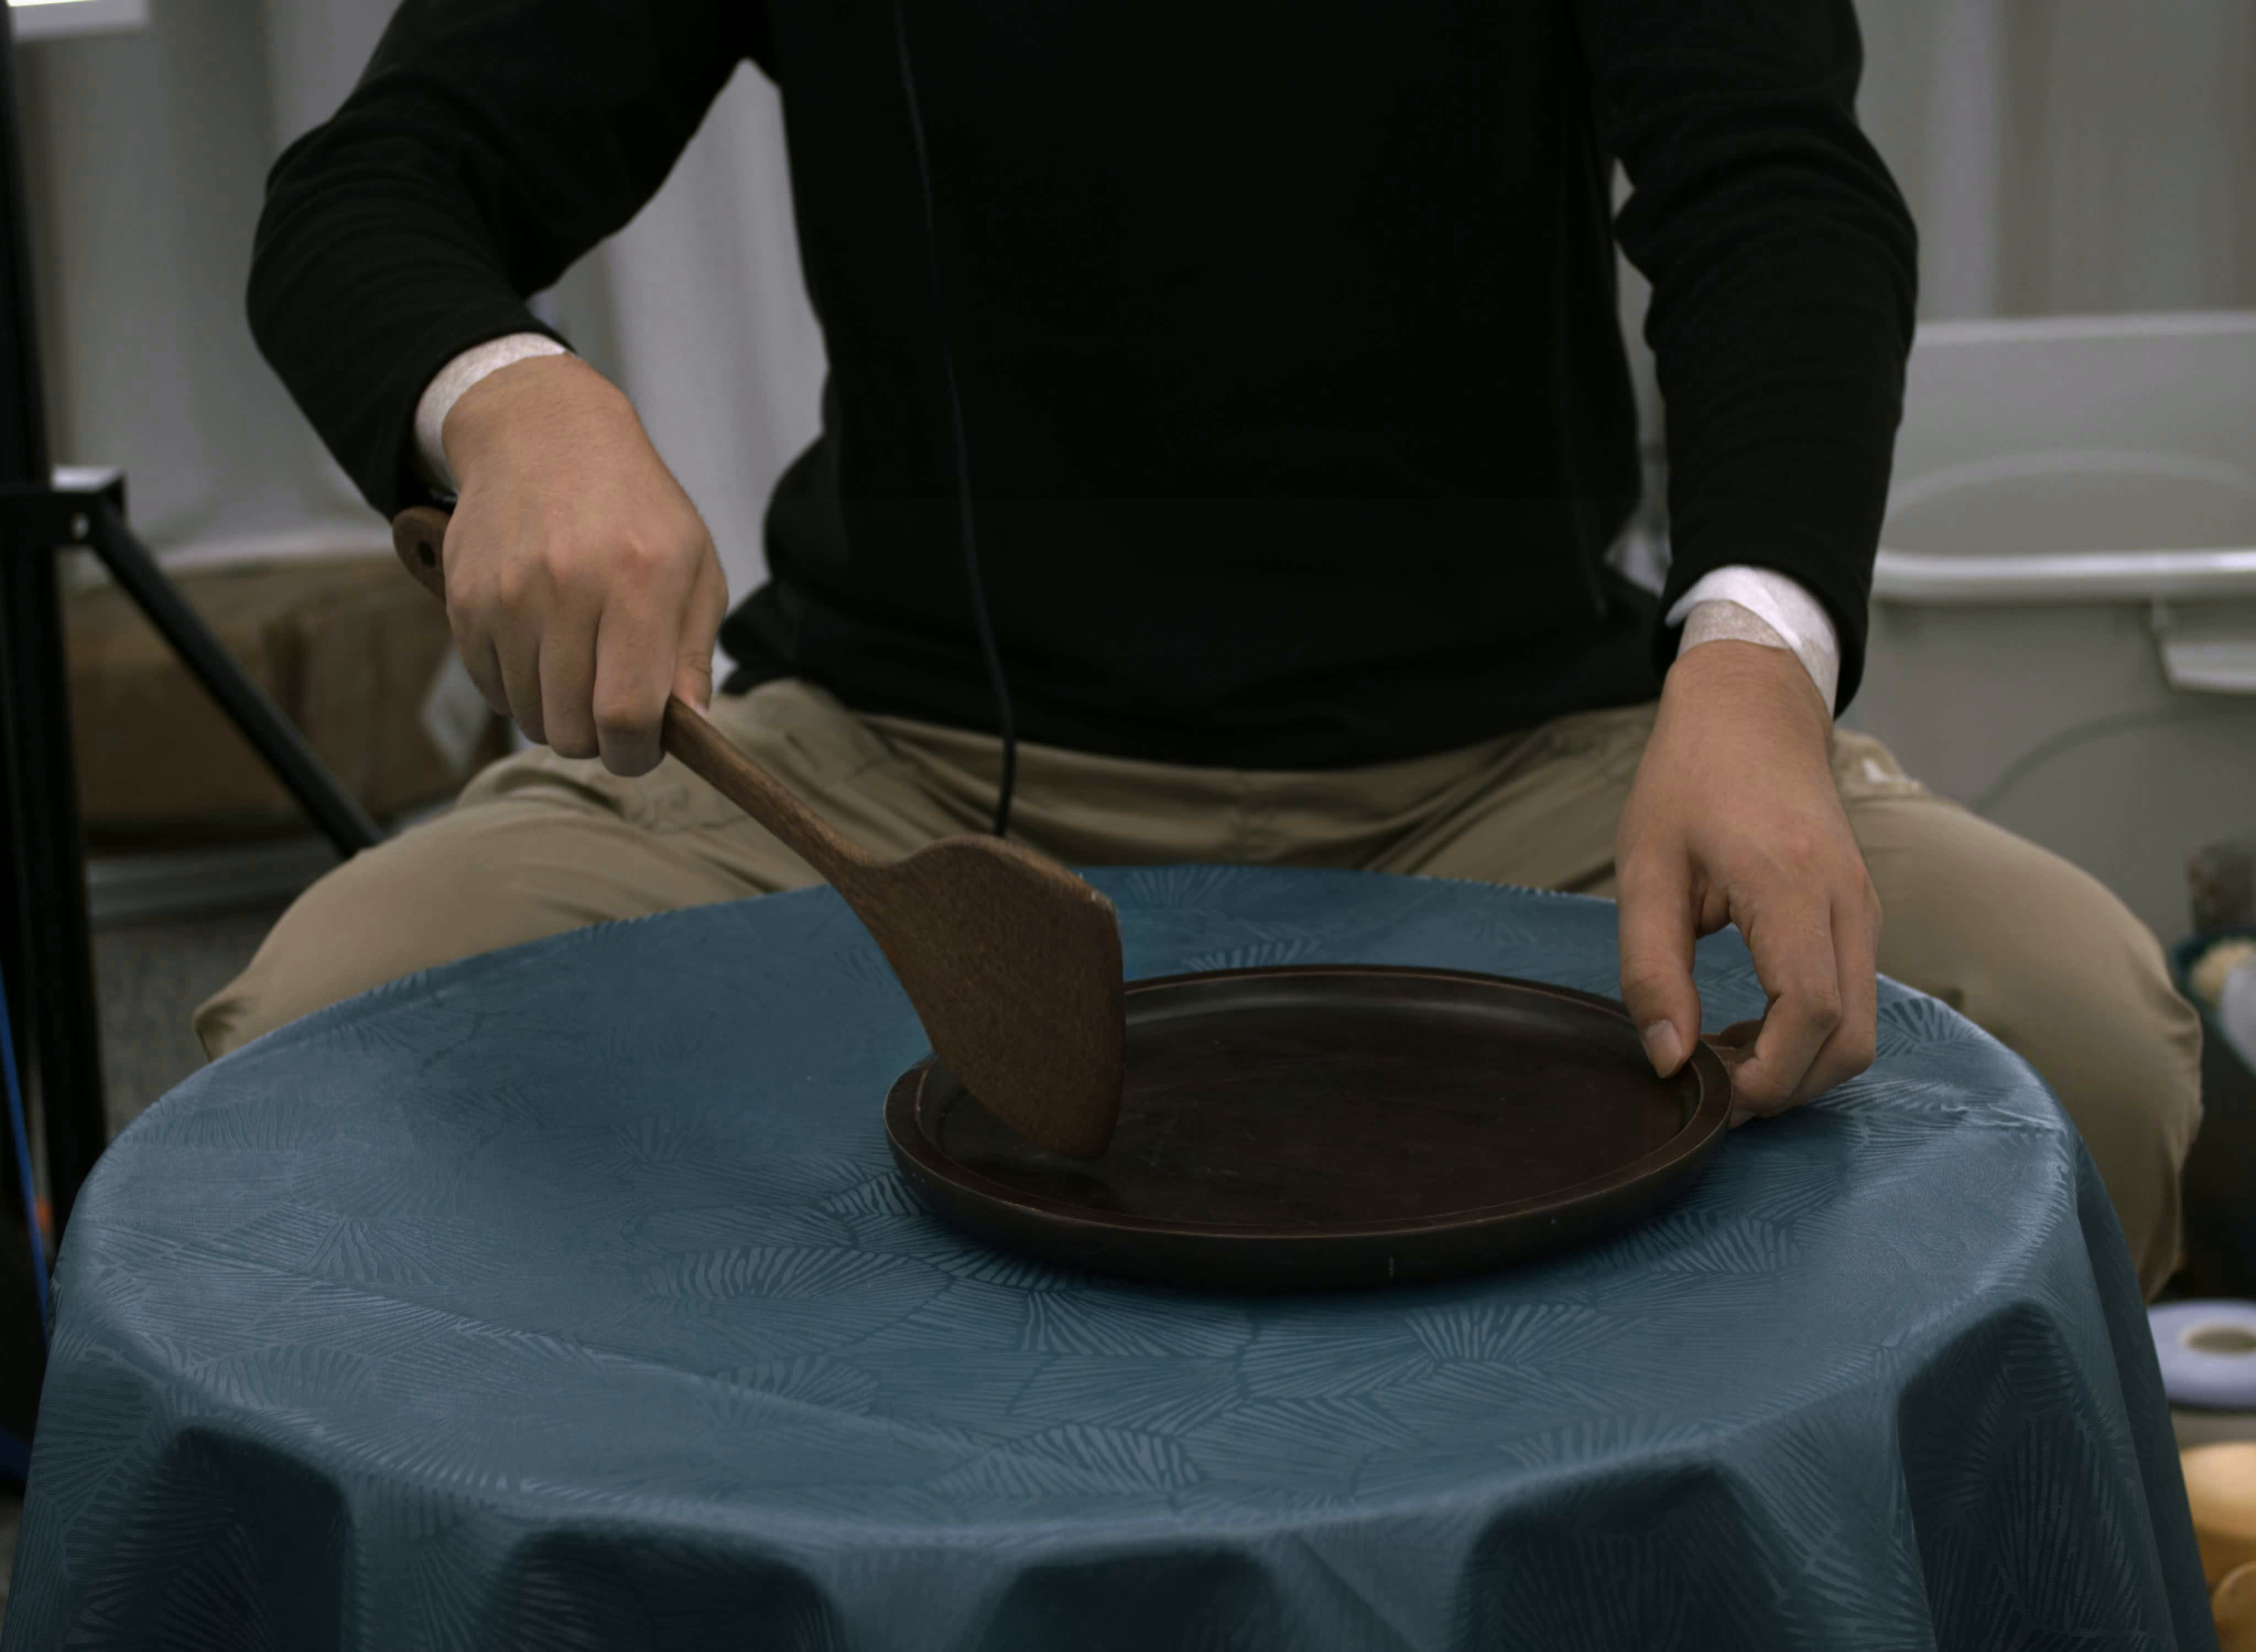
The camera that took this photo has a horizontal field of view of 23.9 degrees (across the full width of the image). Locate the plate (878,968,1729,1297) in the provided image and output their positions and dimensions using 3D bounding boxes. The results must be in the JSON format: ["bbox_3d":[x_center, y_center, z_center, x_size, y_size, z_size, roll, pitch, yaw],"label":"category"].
[{"bbox_3d":[0.052,0.088,1.575,0.253,0.029,0.256,-4,15,0],"label":"plate"}]

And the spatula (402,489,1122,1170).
[{"bbox_3d":[-0.120,-0.018,1.636,0.015,0.096,0.395,-17,36,-32],"label":"spatula"}]
